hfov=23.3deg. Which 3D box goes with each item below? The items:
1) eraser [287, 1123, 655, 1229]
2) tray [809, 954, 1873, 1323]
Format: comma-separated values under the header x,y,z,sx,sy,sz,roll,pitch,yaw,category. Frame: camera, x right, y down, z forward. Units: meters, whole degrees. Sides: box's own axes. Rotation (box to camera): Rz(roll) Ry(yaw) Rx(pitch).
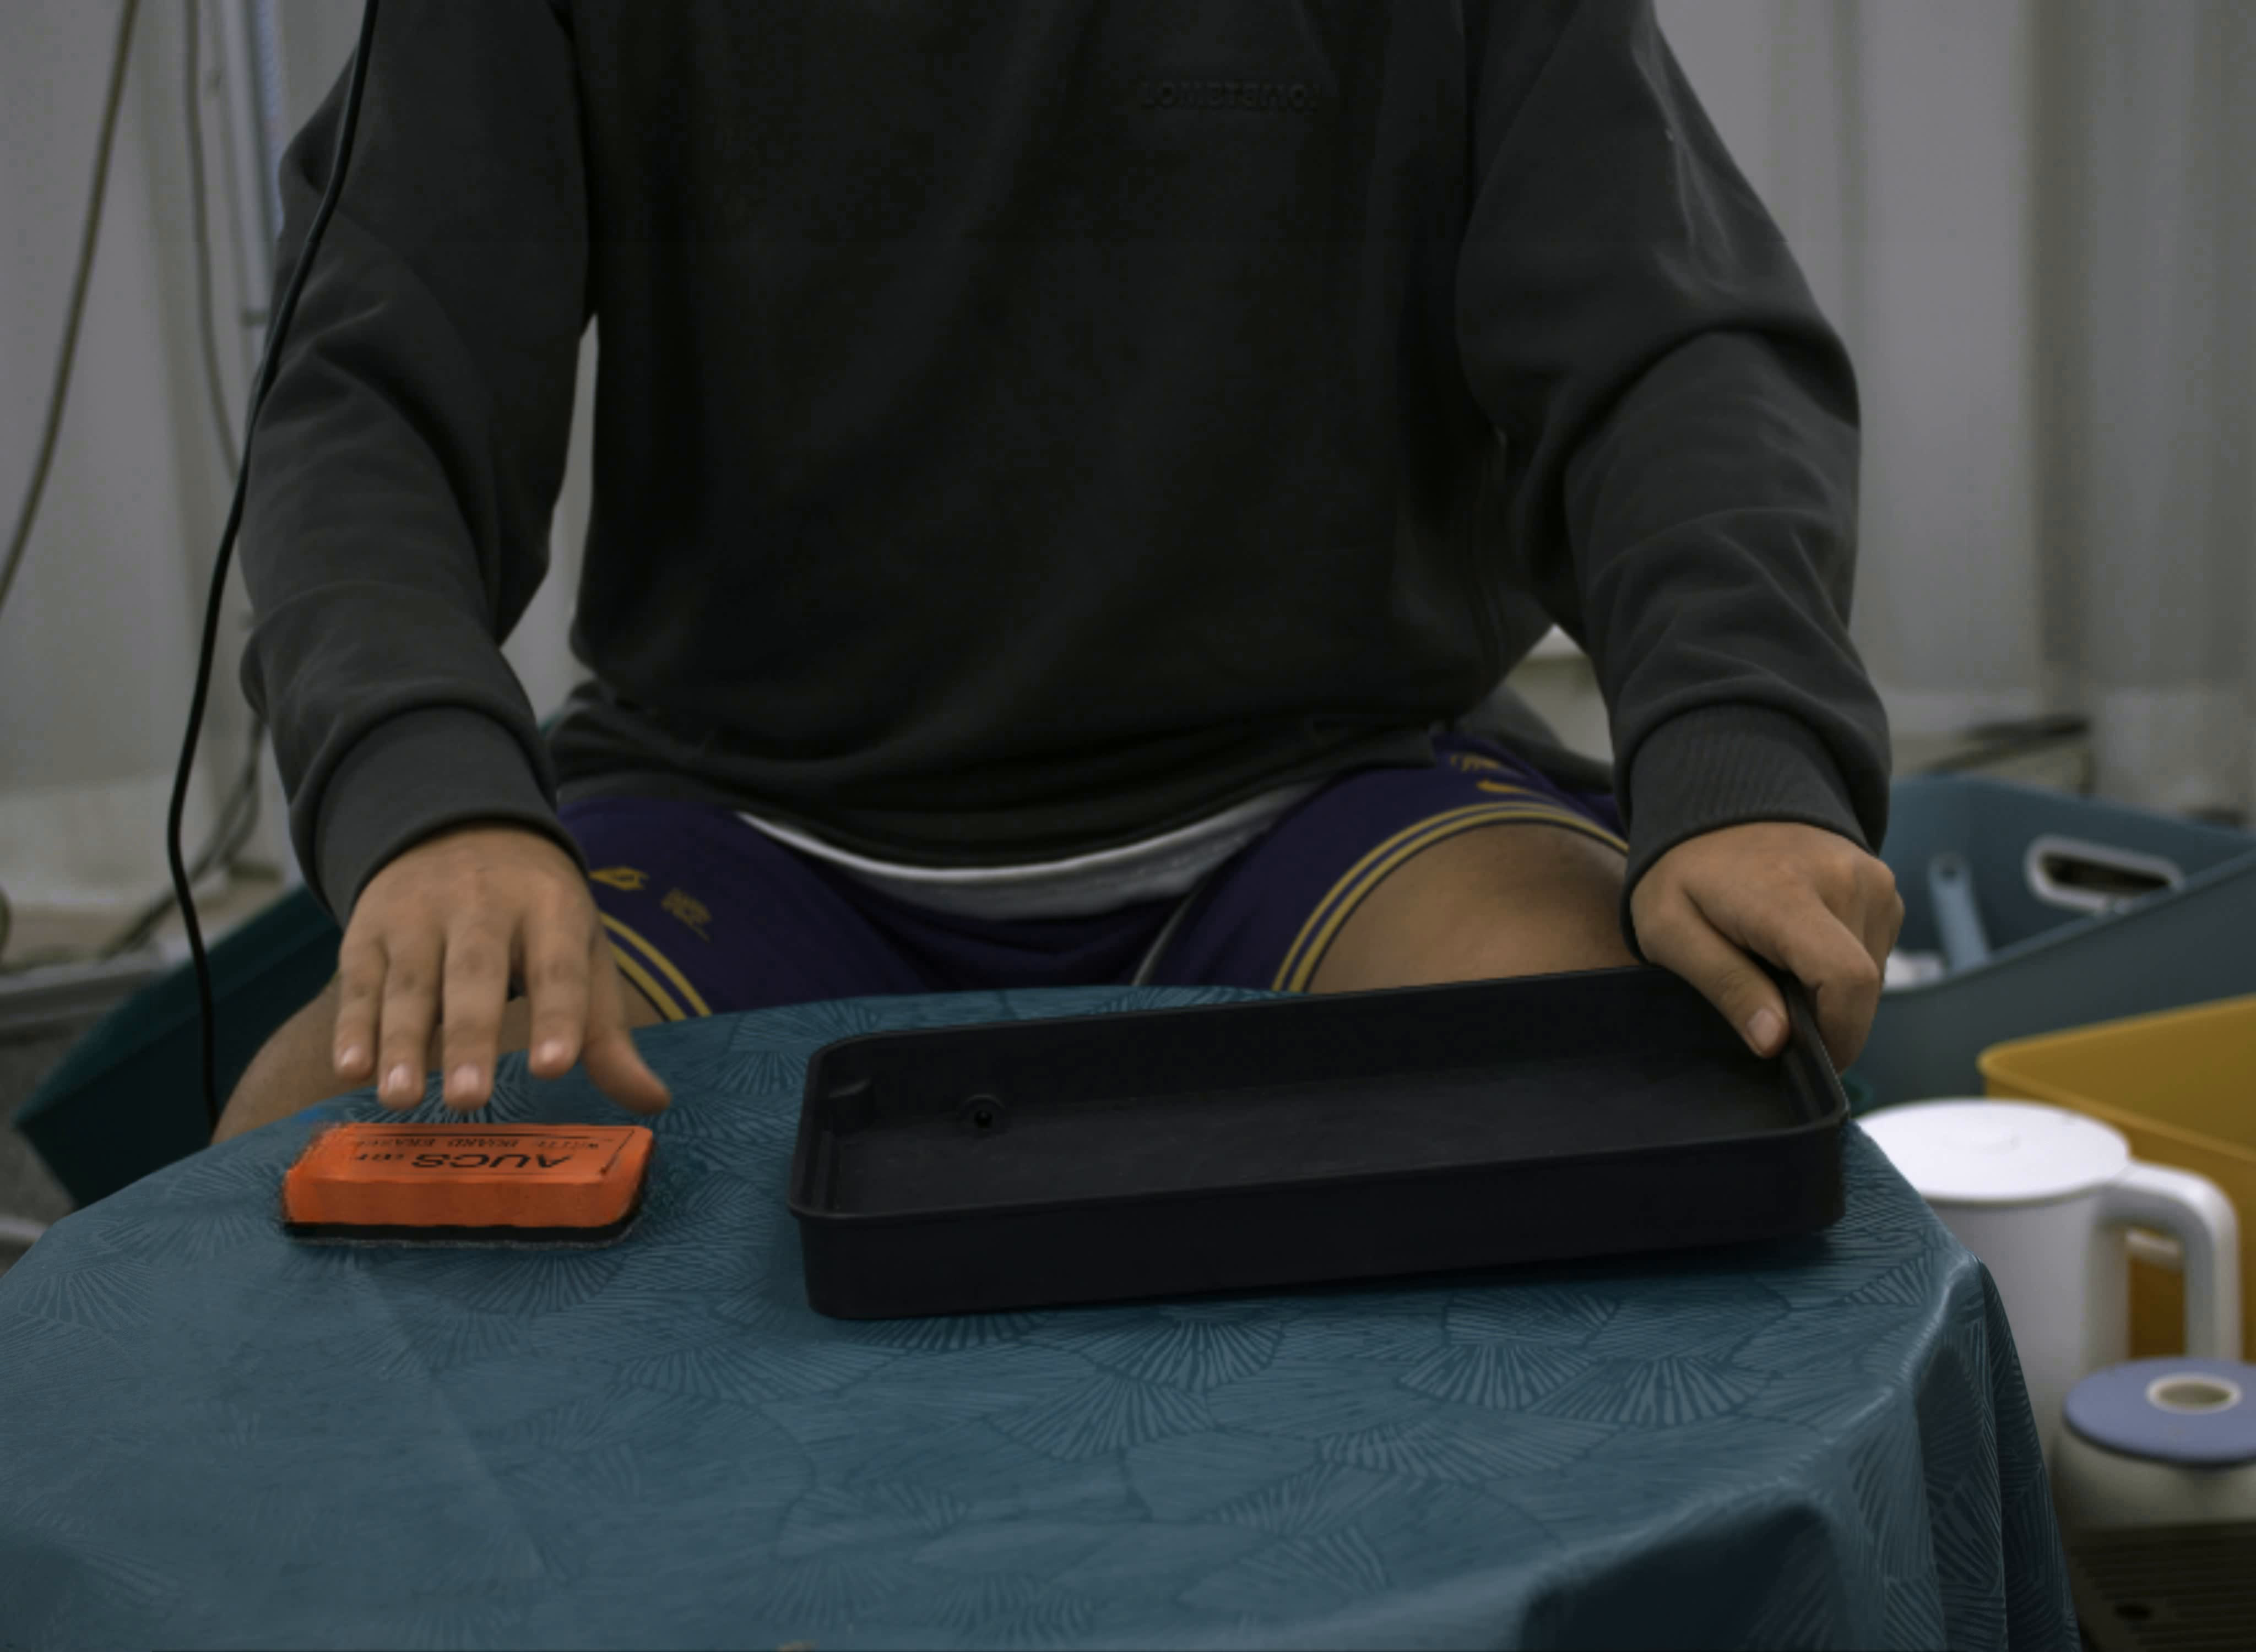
x,y,z,sx,sy,sz,roll,pitch,yaw,category
-0.206,0.110,1.718,0.108,0.023,0.059,-1,7,11,eraser
0.062,0.094,1.690,0.317,0.037,0.185,-6,14,0,tray
